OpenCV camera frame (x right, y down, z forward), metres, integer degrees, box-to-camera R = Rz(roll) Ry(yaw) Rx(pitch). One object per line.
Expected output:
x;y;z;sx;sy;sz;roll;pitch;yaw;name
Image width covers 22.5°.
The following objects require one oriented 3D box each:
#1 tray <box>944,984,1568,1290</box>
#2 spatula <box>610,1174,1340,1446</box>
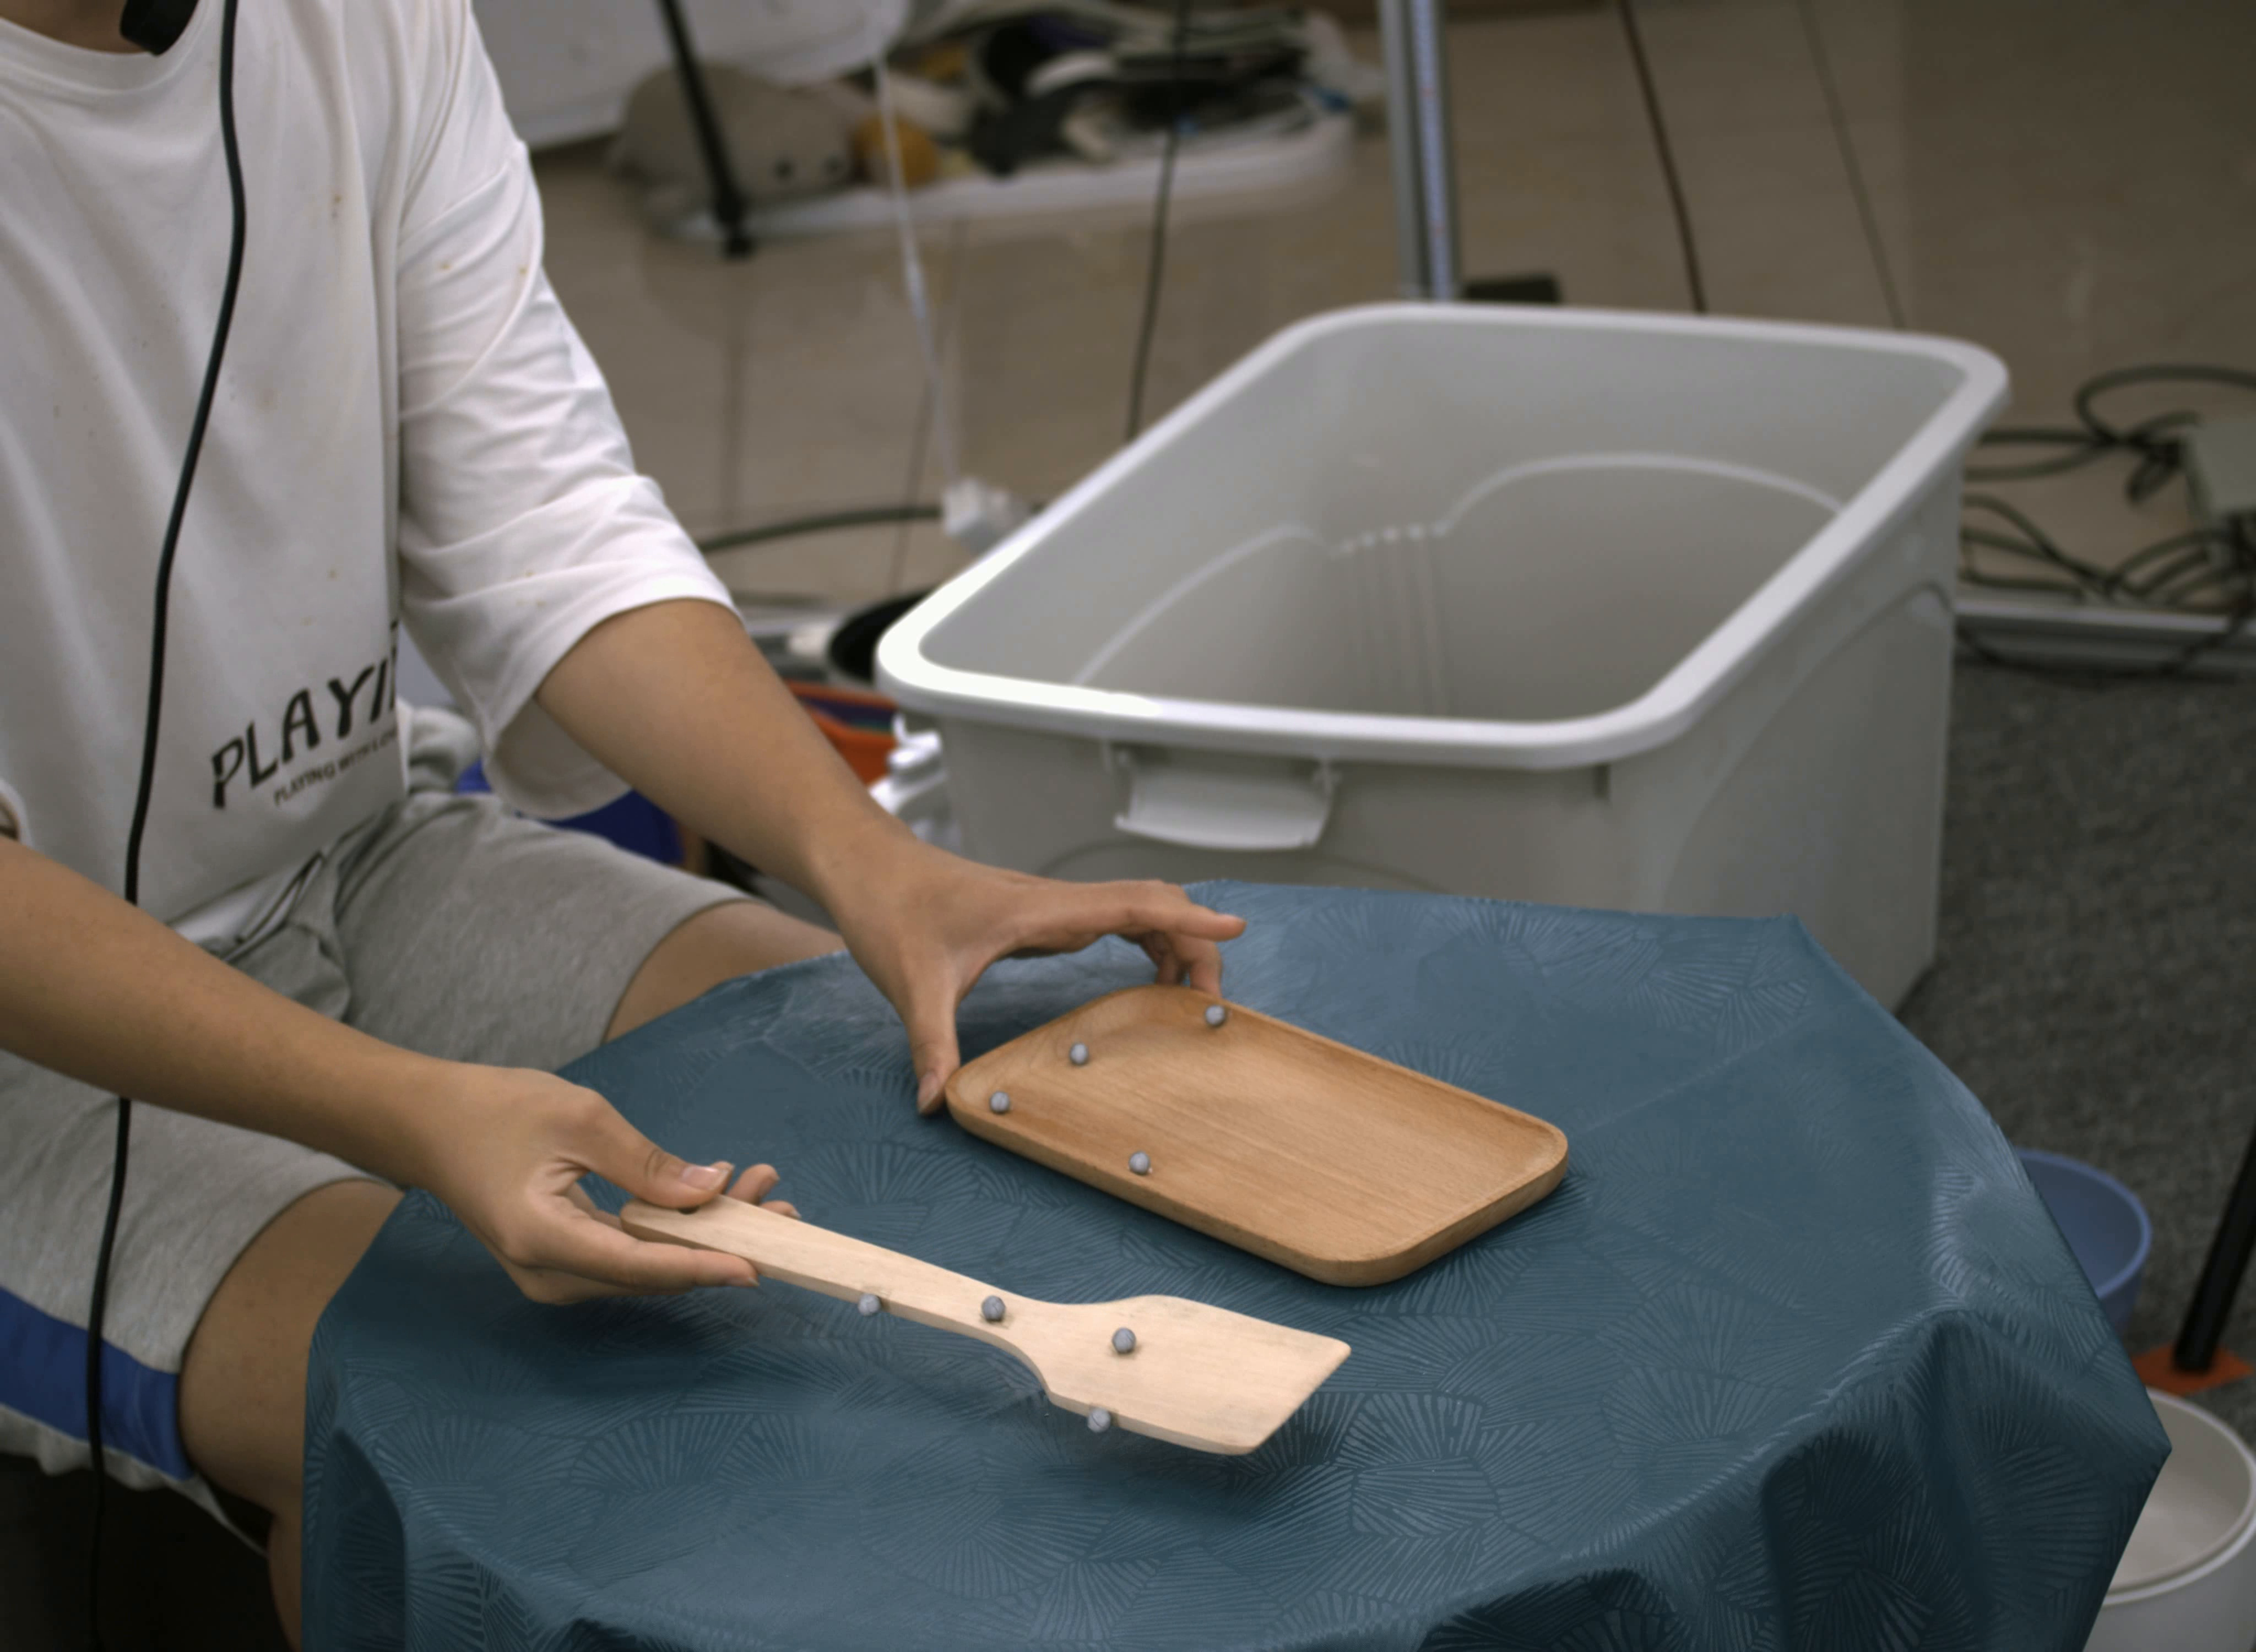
0.047;0.117;2.164;0.129;0.023;0.248;-27;32;-33;tray
-0.065;0.167;2.017;0.291;0.011;0.071;14;36;30;spatula
